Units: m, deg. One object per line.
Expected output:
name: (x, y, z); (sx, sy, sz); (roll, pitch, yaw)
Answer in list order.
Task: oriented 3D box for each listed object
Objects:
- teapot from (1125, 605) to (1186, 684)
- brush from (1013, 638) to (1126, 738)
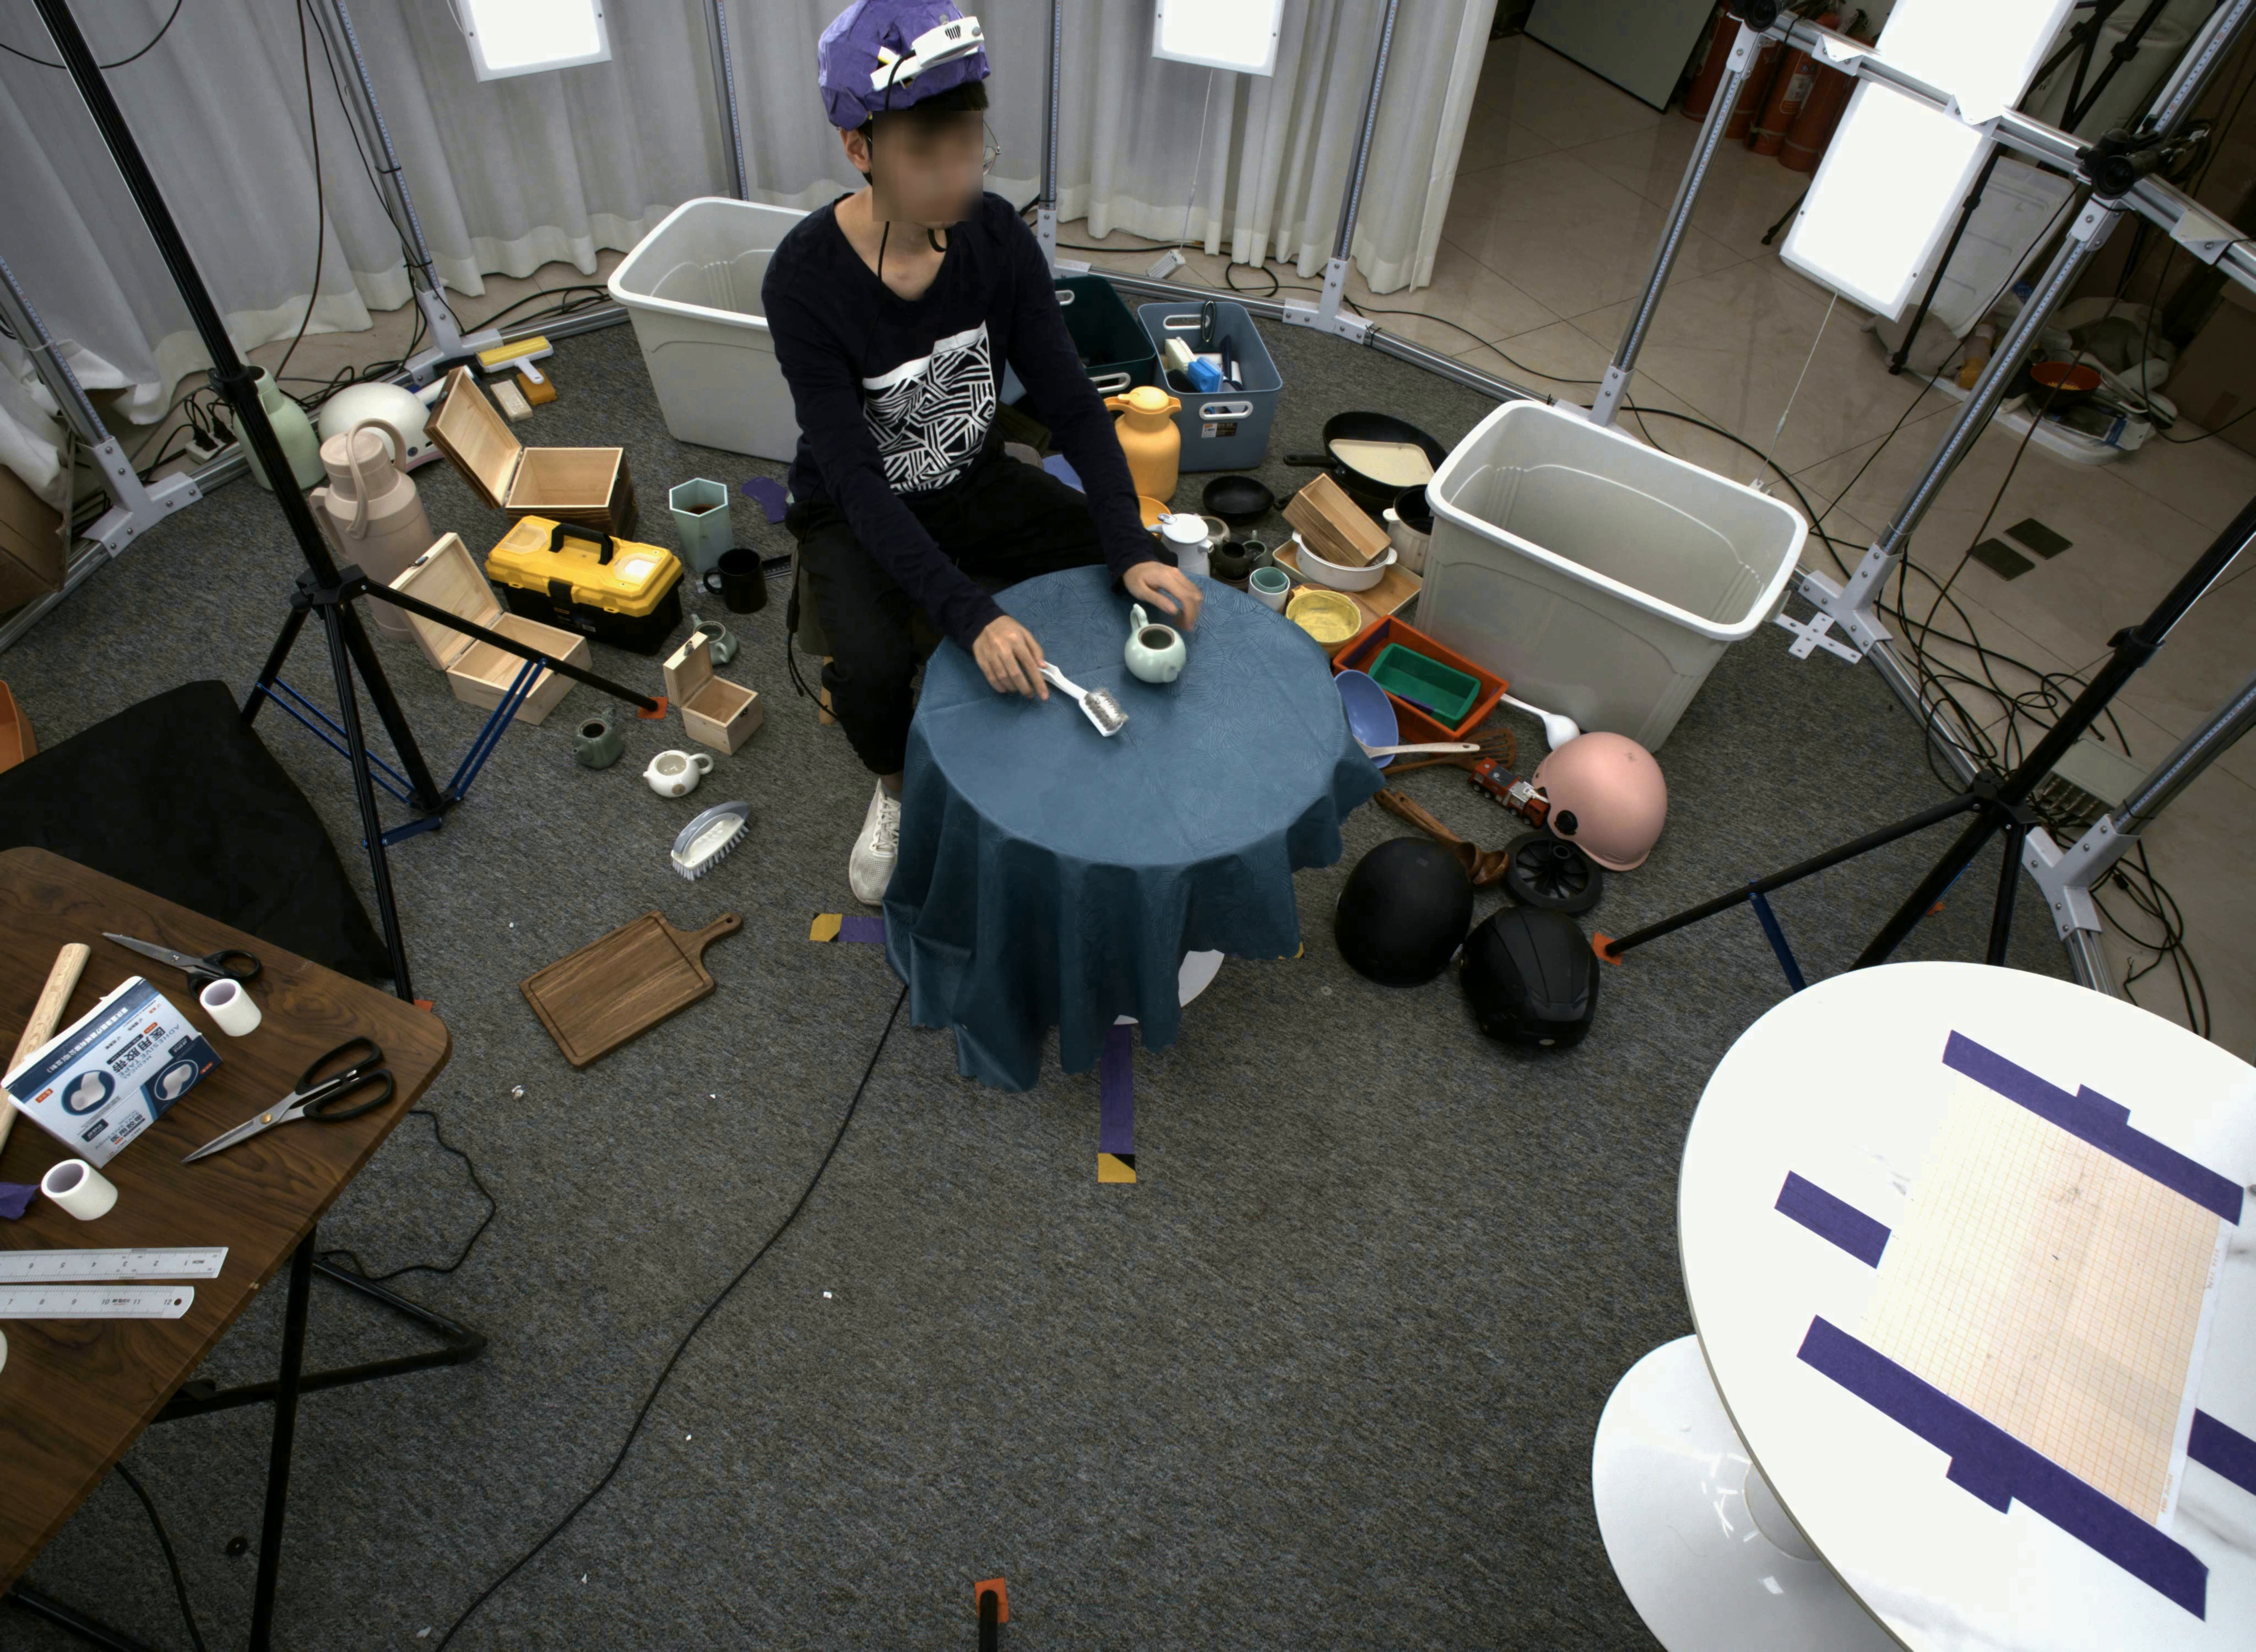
teapot: (0.039, -0.247, 1.839); (0.088, 0.073, 0.147); (-16, 53, -16)
brush: (-0.088, -0.210, 1.815); (0.034, 0.049, 0.248); (-30, 56, -23)
